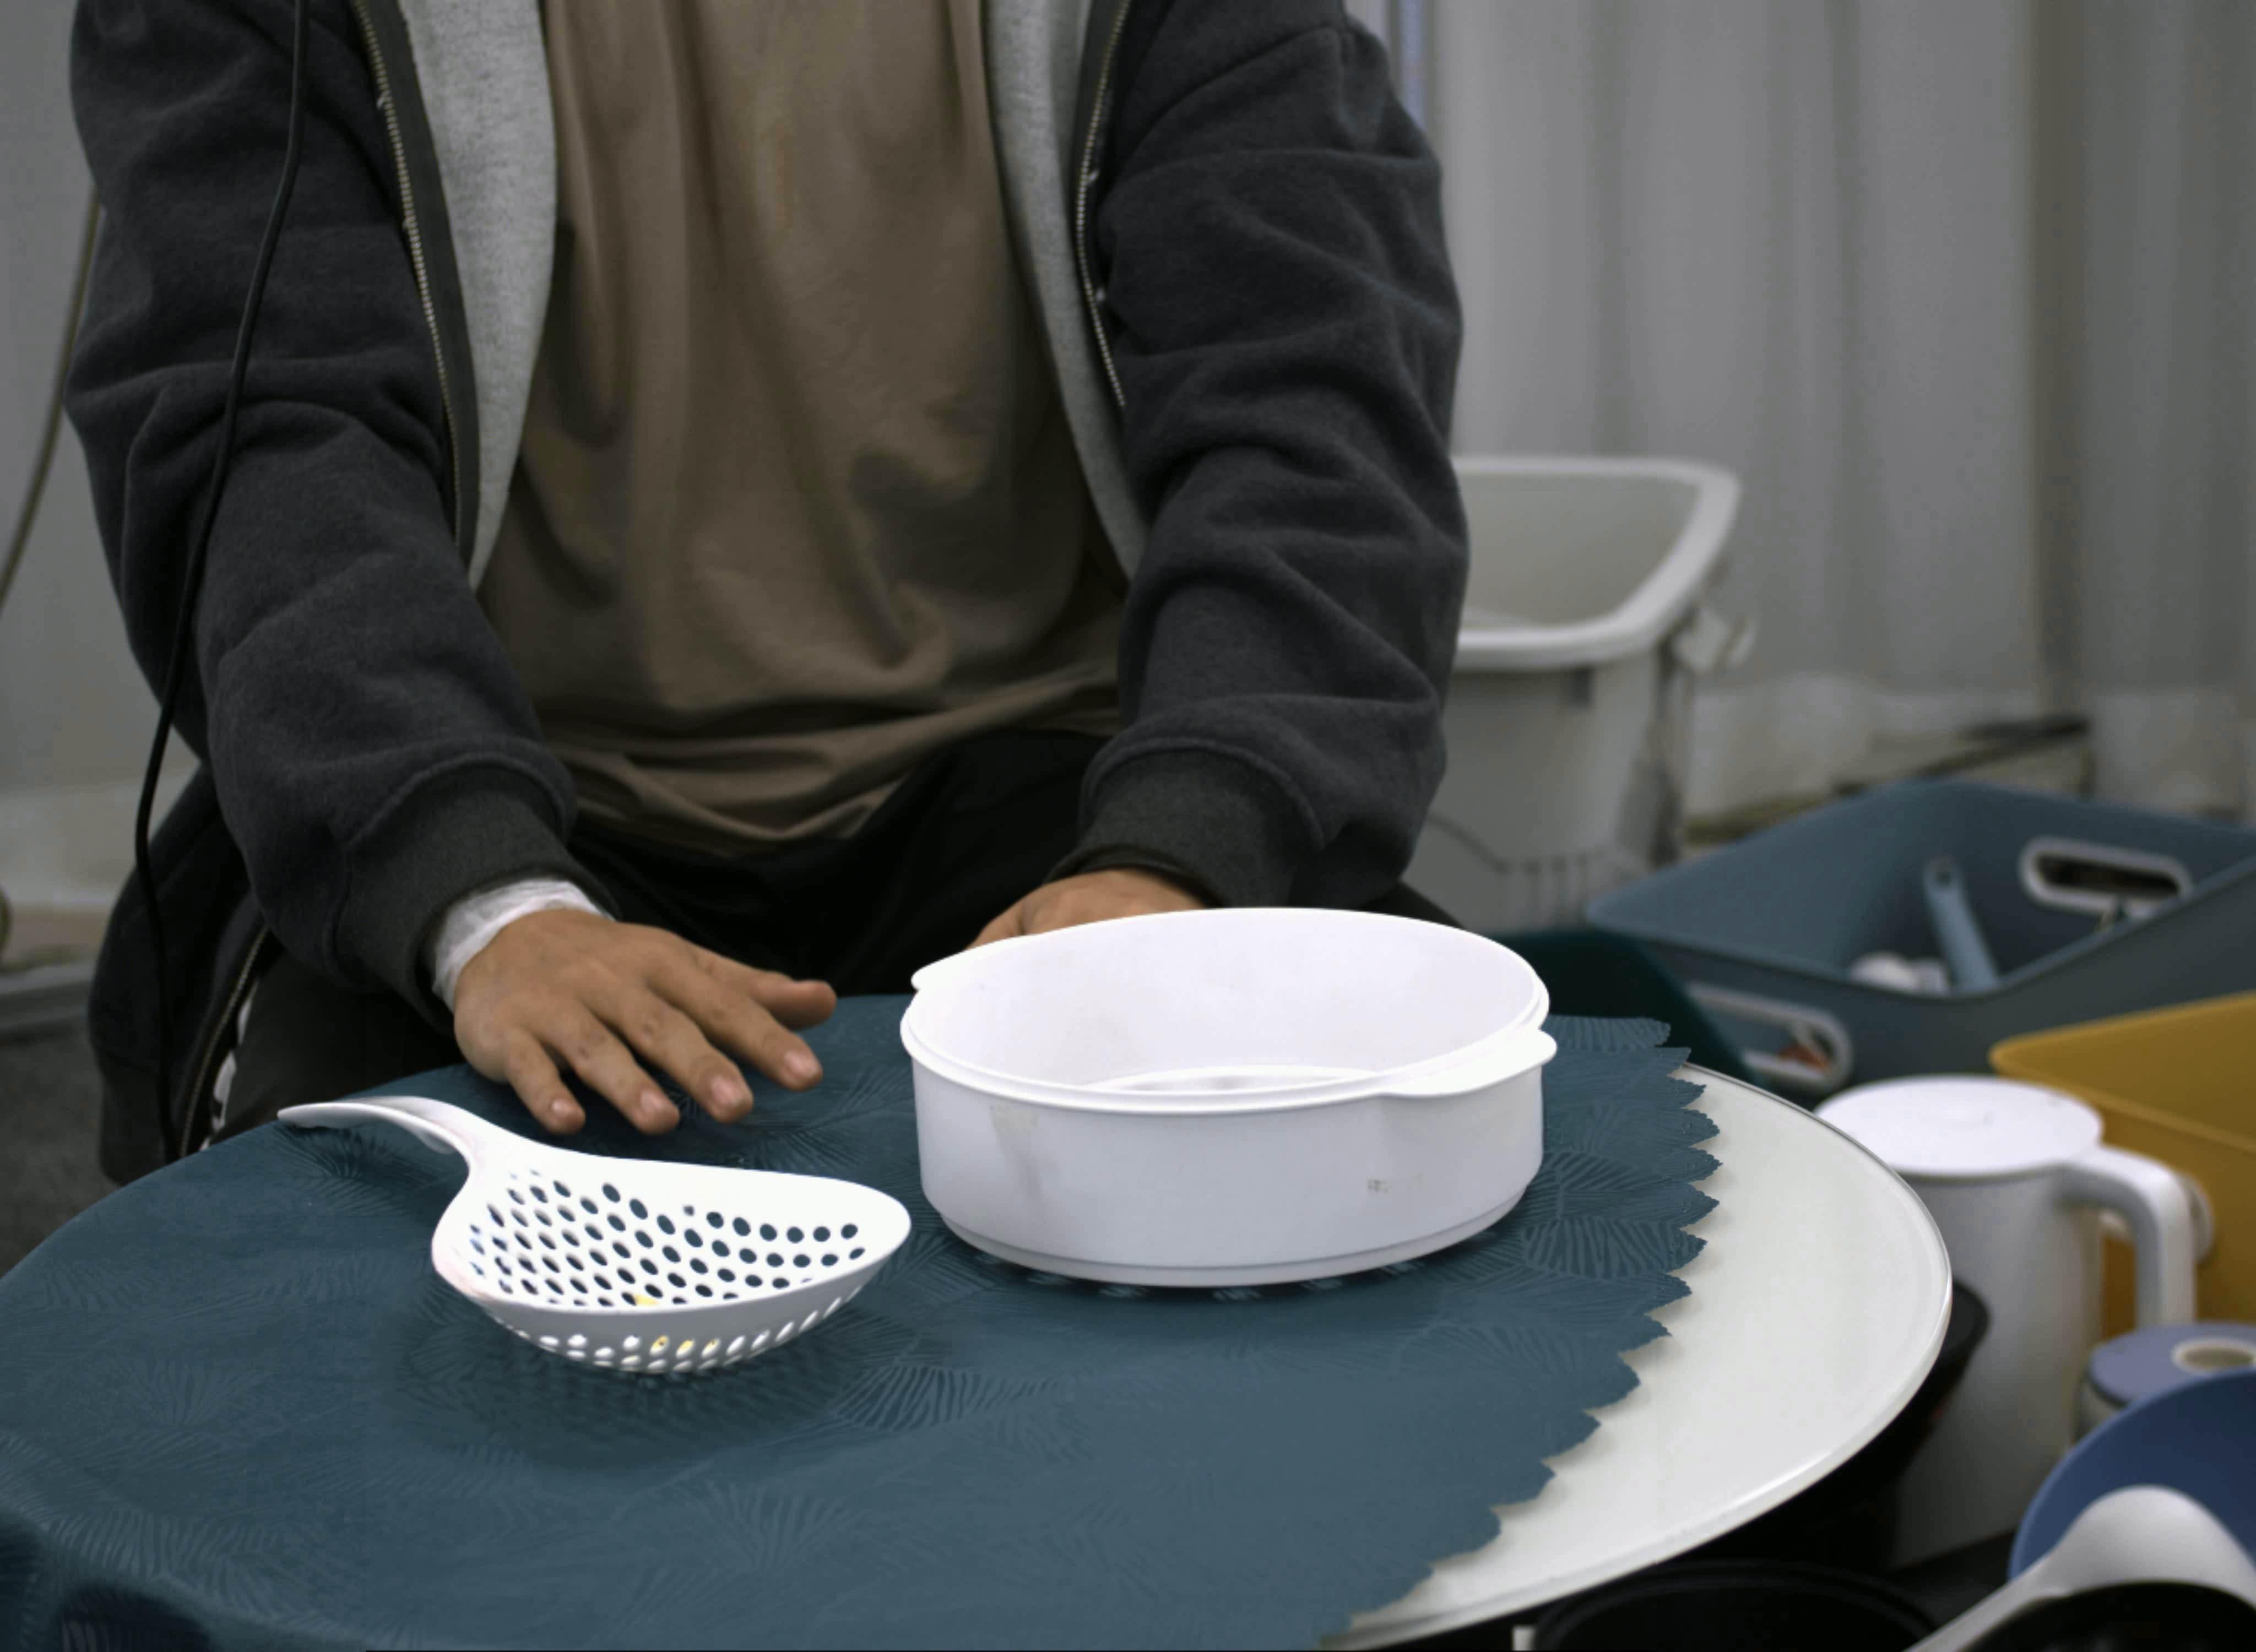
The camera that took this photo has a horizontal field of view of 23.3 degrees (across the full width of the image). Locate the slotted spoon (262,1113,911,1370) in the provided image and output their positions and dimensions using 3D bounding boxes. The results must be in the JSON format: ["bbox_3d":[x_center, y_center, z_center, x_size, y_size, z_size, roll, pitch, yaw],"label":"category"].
[{"bbox_3d":[-0.187,0.114,1.678,0.136,0.050,0.350,-15,18,-29],"label":"slotted spoon"}]

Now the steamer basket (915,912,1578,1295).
[{"bbox_3d":[0.035,0.085,1.691,0.232,0.069,0.201,12,20,40],"label":"steamer basket"}]
